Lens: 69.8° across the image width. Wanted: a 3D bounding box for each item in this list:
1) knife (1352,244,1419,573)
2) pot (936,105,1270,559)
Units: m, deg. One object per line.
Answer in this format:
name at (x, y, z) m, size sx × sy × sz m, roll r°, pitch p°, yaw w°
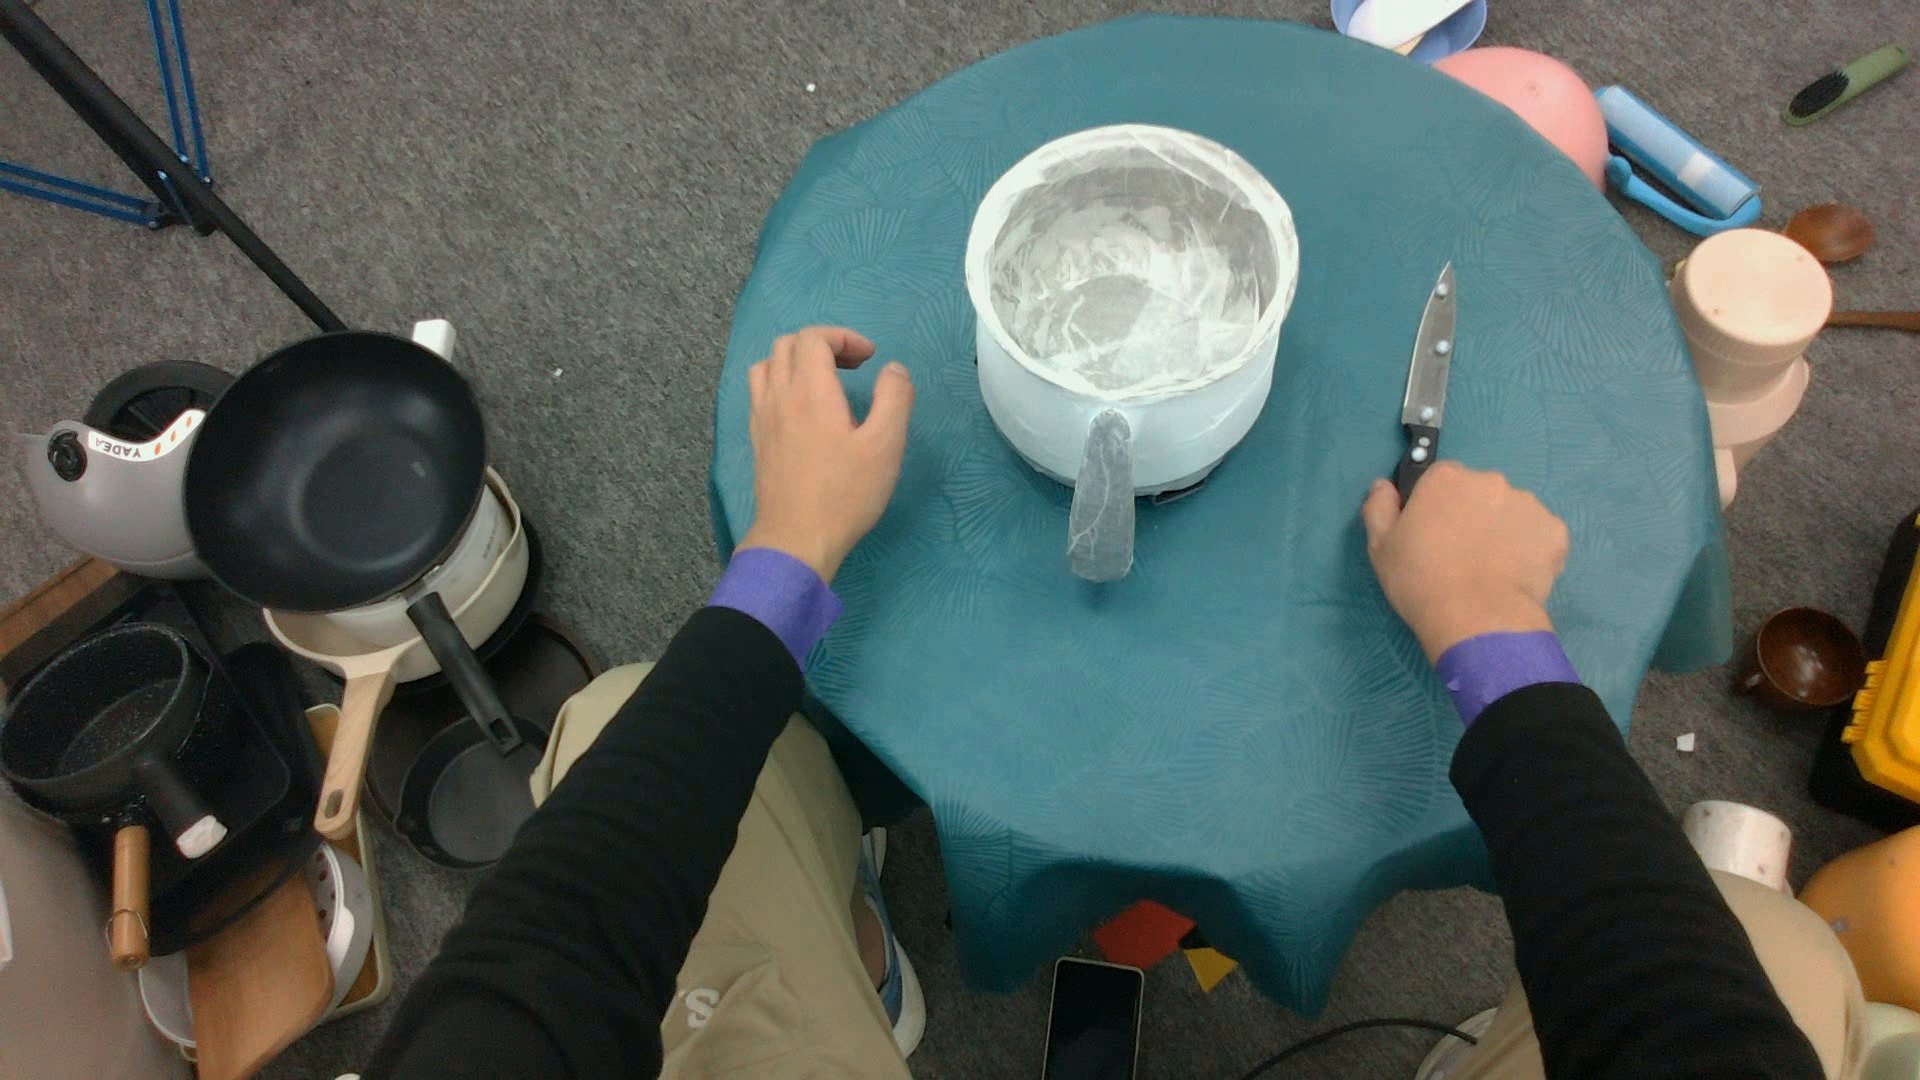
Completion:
knife at (0.260, -0.086, 0.829) m, size 0.024 × 0.016 × 0.239 m, roll 9°, pitch 63°, yaw 13°
pot at (0.076, -0.113, 0.780) m, size 0.178 × 0.136 × 0.234 m, roll 4°, pitch 65°, yaw 6°
